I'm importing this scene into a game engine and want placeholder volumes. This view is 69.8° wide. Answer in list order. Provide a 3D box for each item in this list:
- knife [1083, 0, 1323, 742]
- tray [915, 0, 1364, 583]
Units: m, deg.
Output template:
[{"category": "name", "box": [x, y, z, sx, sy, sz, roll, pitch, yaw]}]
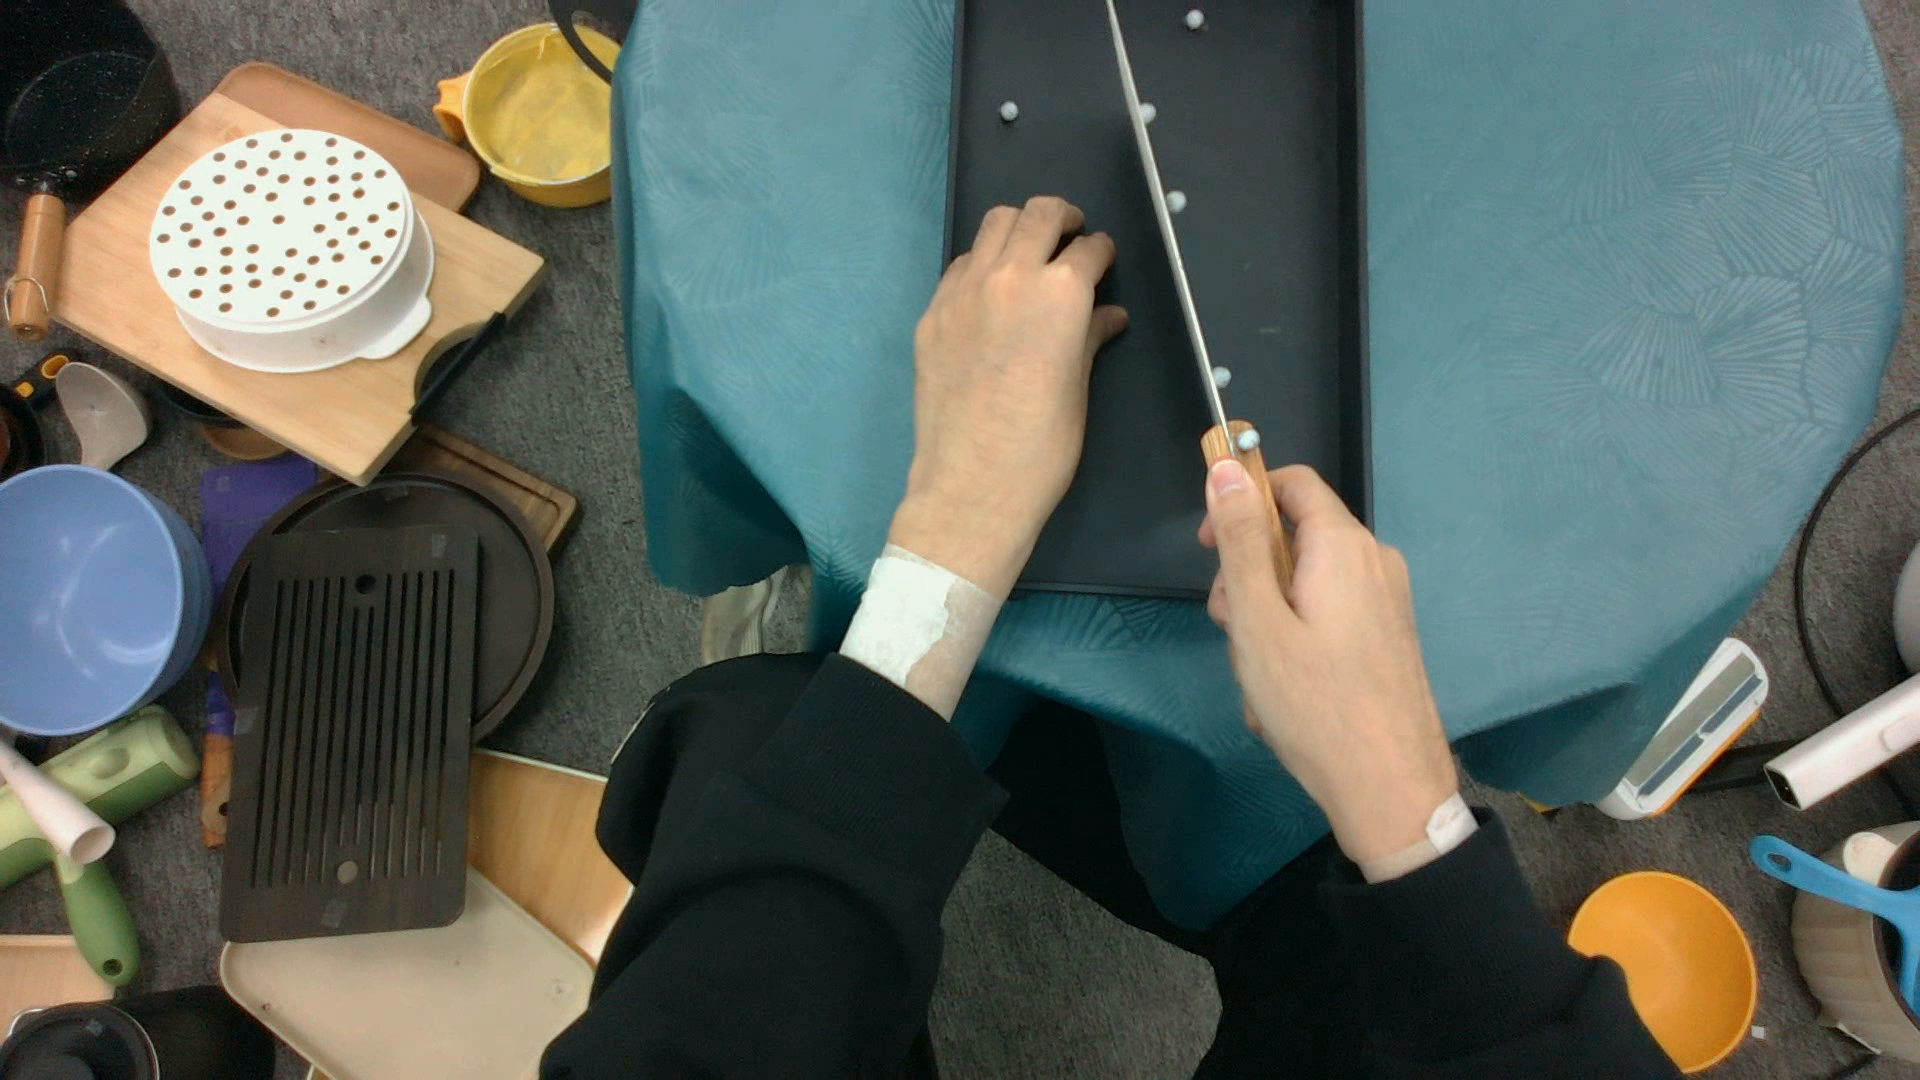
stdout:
[{"category": "knife", "box": [0.092, -0.068, 0.553, 0.021, 0.093, 0.306, -16, 76, 8]}, {"category": "tray", "box": [0.073, -0.138, 0.605, 0.184, 0.037, 0.318, 1, 76, -4]}]
